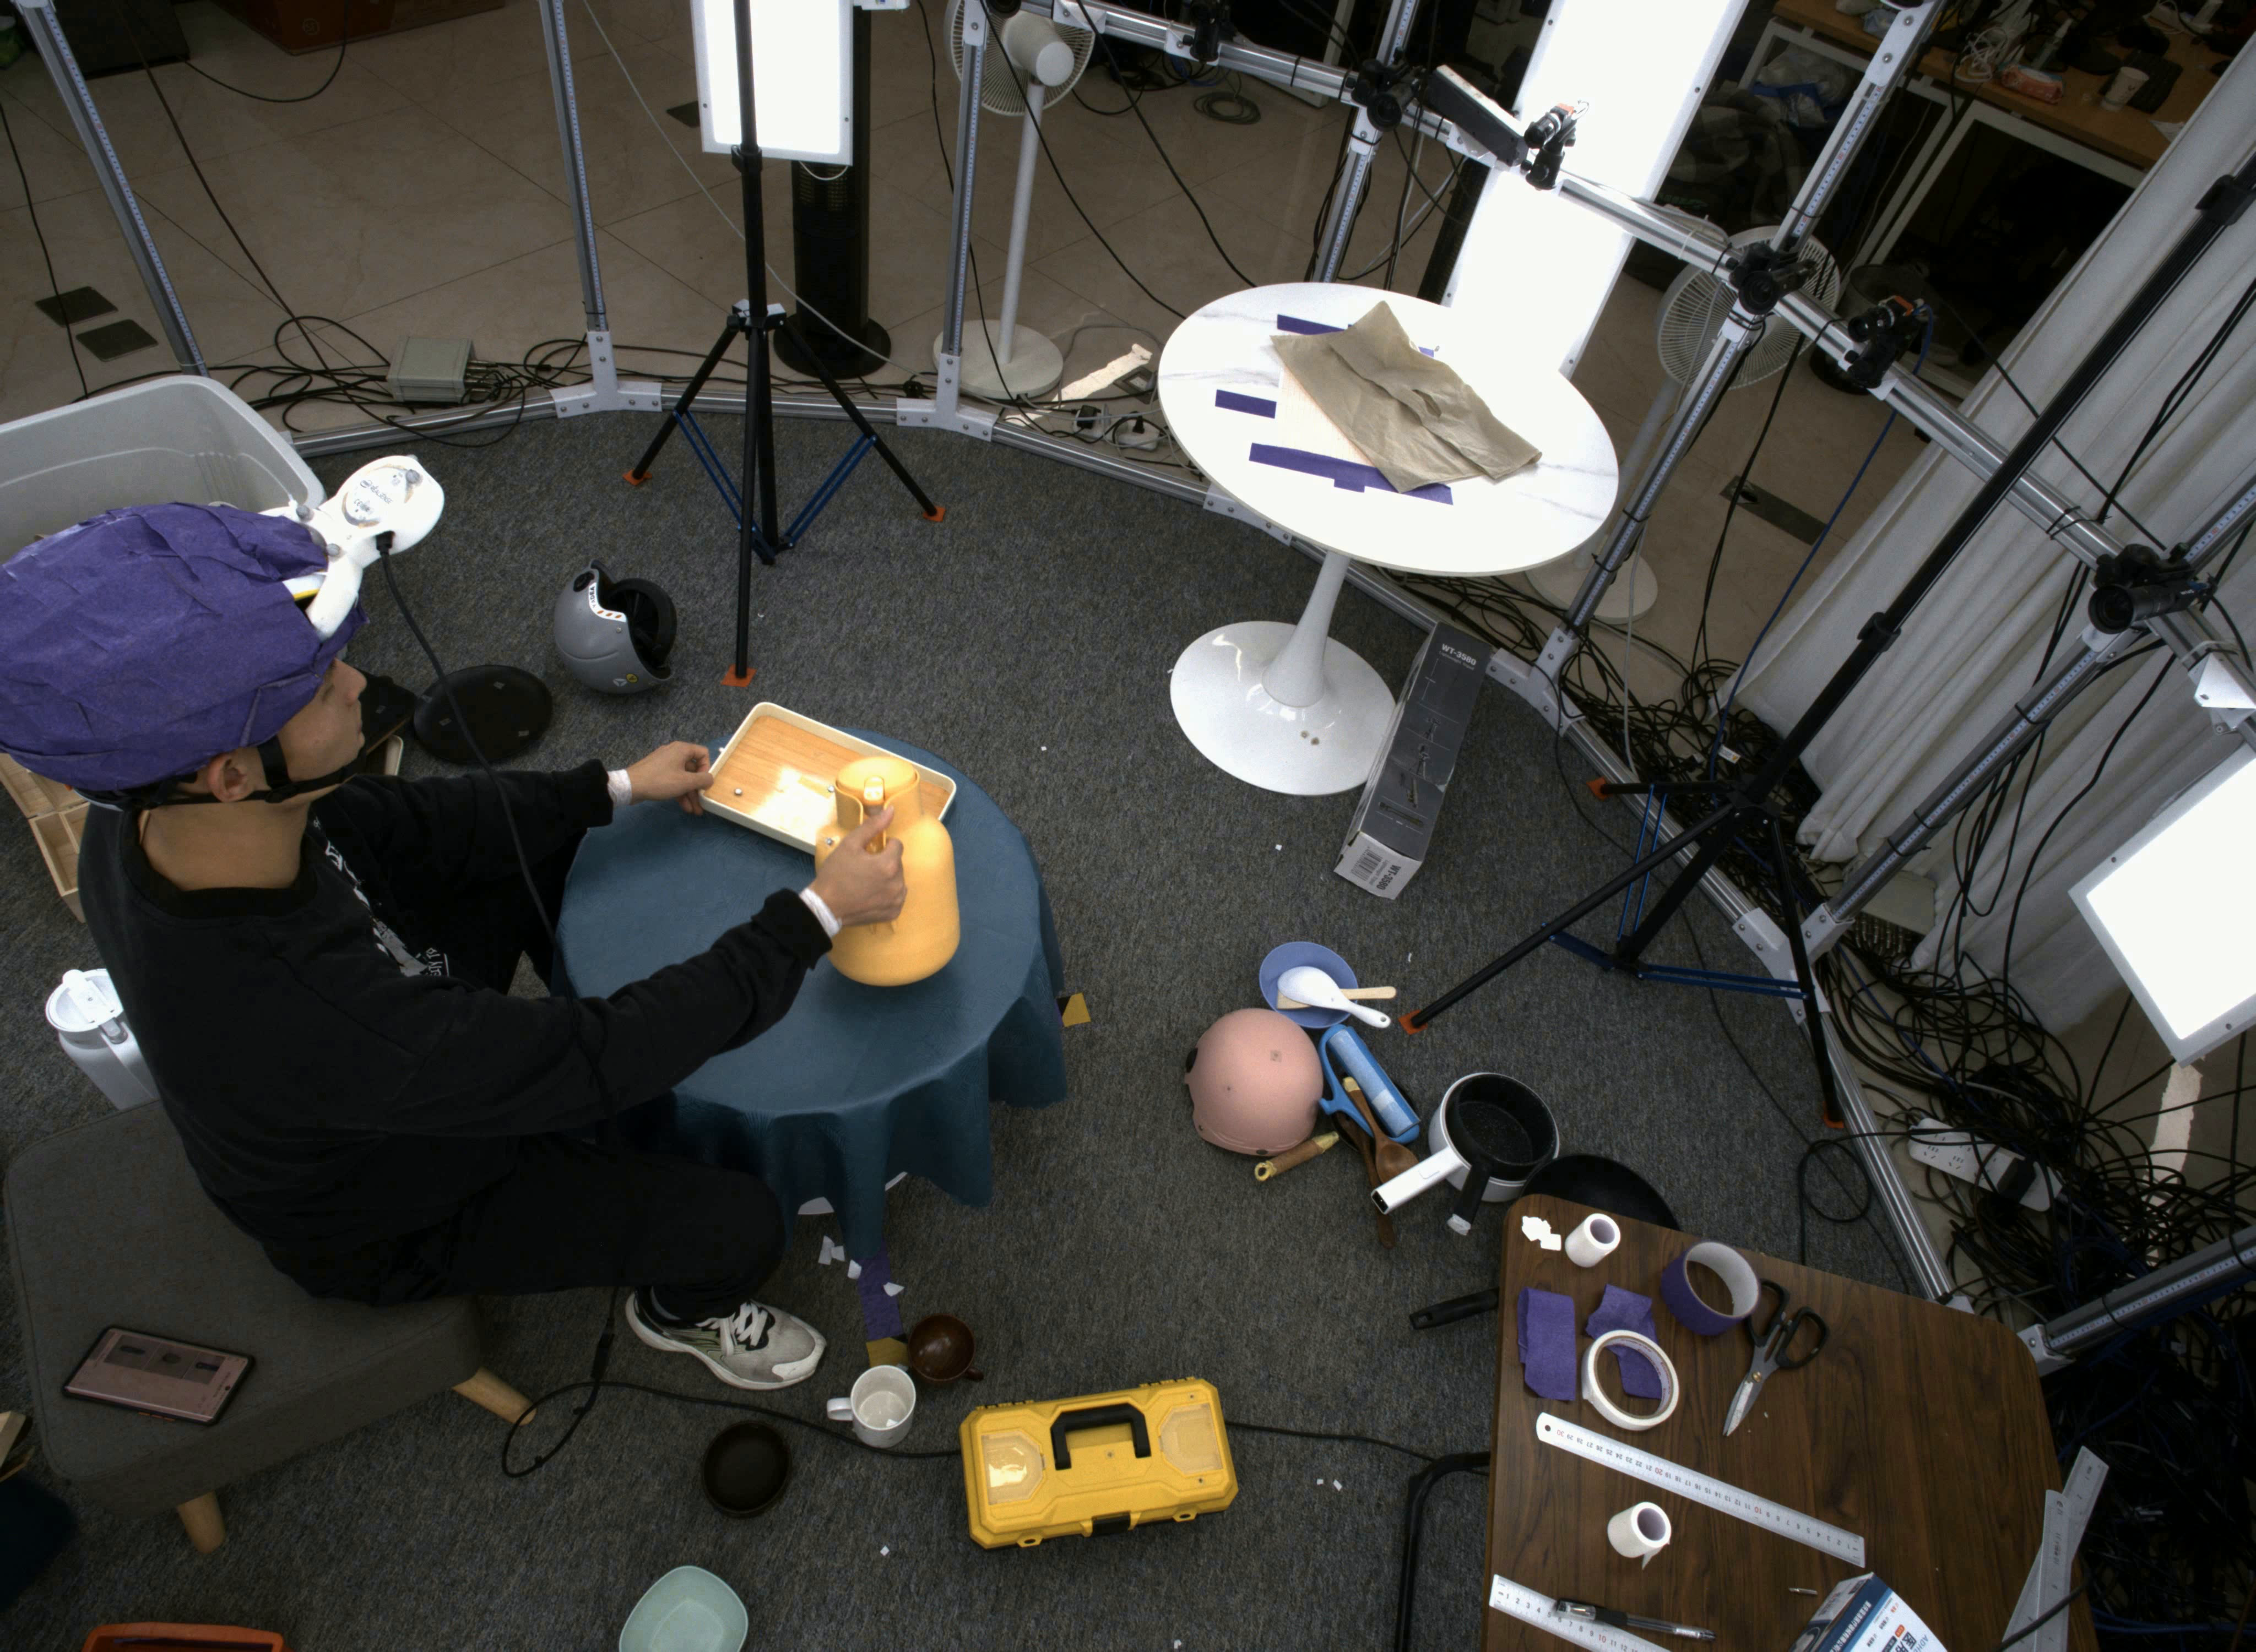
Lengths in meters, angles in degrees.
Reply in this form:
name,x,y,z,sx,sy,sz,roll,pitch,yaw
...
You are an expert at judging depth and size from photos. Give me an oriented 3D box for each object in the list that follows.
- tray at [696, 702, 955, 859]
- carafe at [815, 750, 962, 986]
name,x,y,z,sx,sy,sz,roll,pitch,yaw
tray,-0.399,-0.044,1.727,0.299,0.028,0.189,23,50,-3
carafe,-0.283,0.053,1.499,0.162,0.269,0.197,-4,28,-3
